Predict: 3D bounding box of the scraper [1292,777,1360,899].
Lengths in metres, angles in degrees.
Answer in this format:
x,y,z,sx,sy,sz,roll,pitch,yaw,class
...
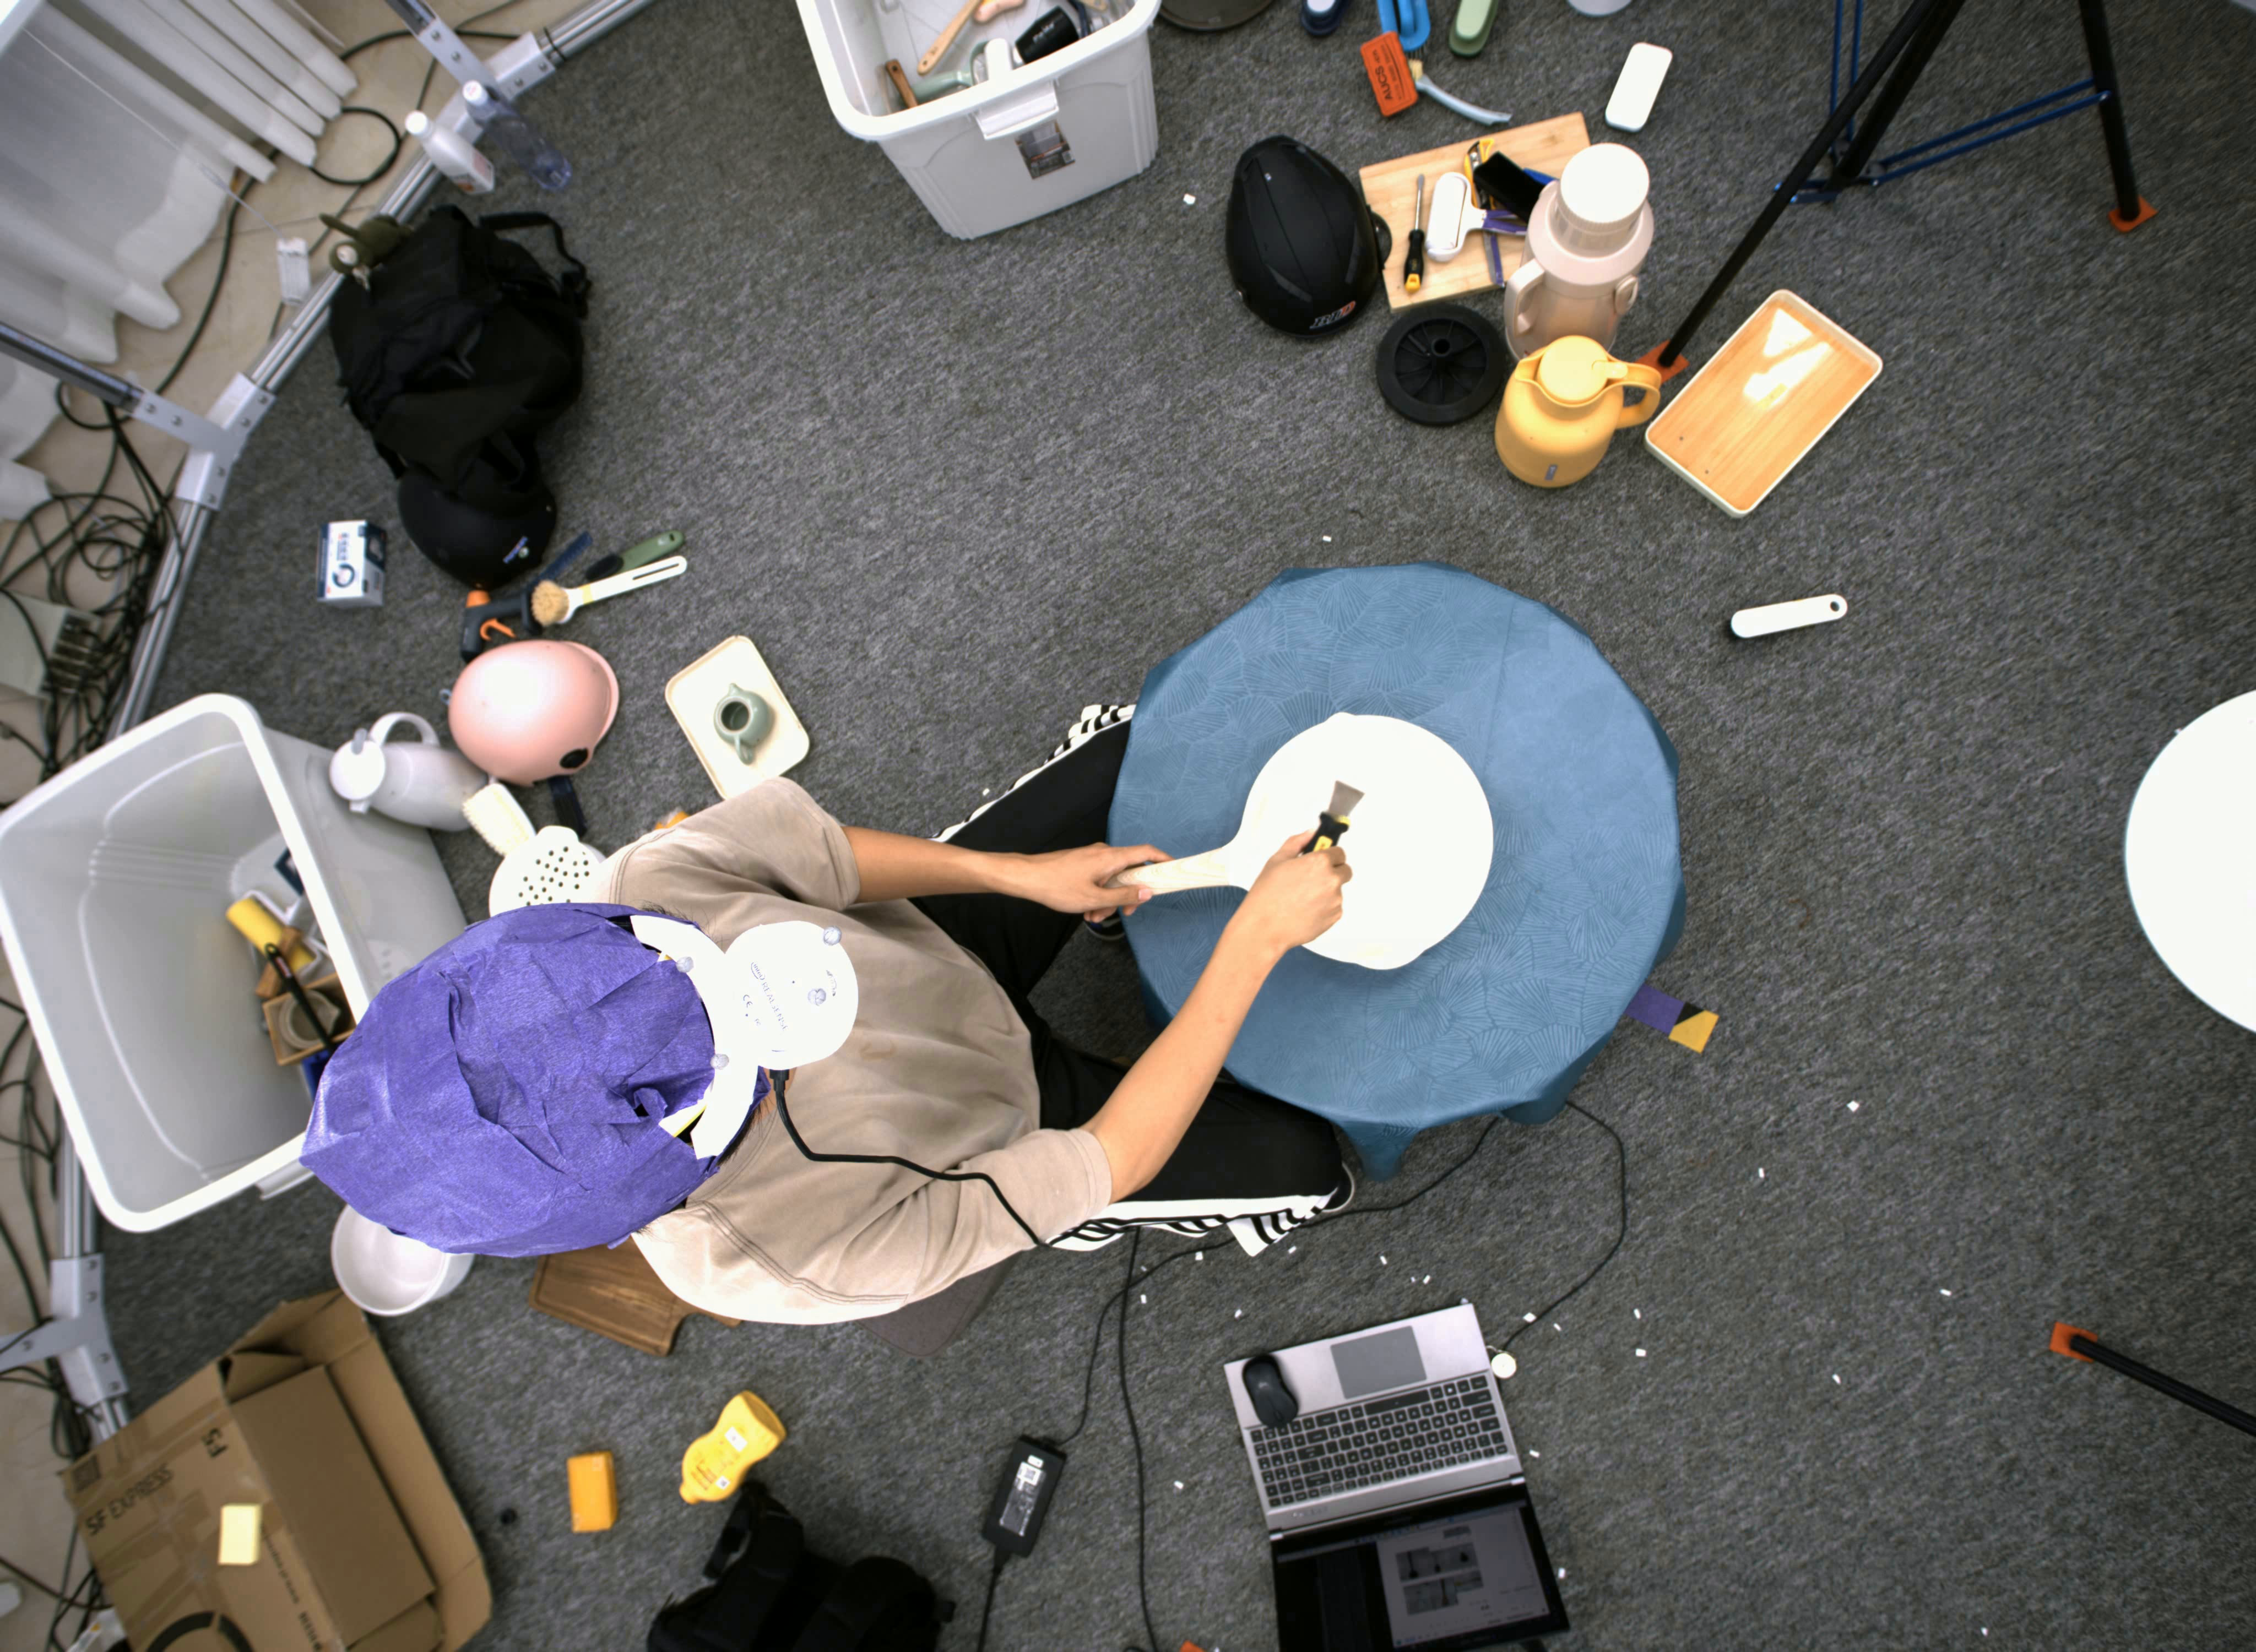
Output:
x,y,z,sx,sy,sz,roll,pitch,yaw,class
0.195,0.011,1.365,0.039,0.015,0.166,29,47,-1,scraper

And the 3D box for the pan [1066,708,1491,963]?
x,y,z,sx,sy,sz,roll,pitch,yaw,class
0.154,0.029,1.437,0.437,0.102,0.262,-12,86,10,pan
